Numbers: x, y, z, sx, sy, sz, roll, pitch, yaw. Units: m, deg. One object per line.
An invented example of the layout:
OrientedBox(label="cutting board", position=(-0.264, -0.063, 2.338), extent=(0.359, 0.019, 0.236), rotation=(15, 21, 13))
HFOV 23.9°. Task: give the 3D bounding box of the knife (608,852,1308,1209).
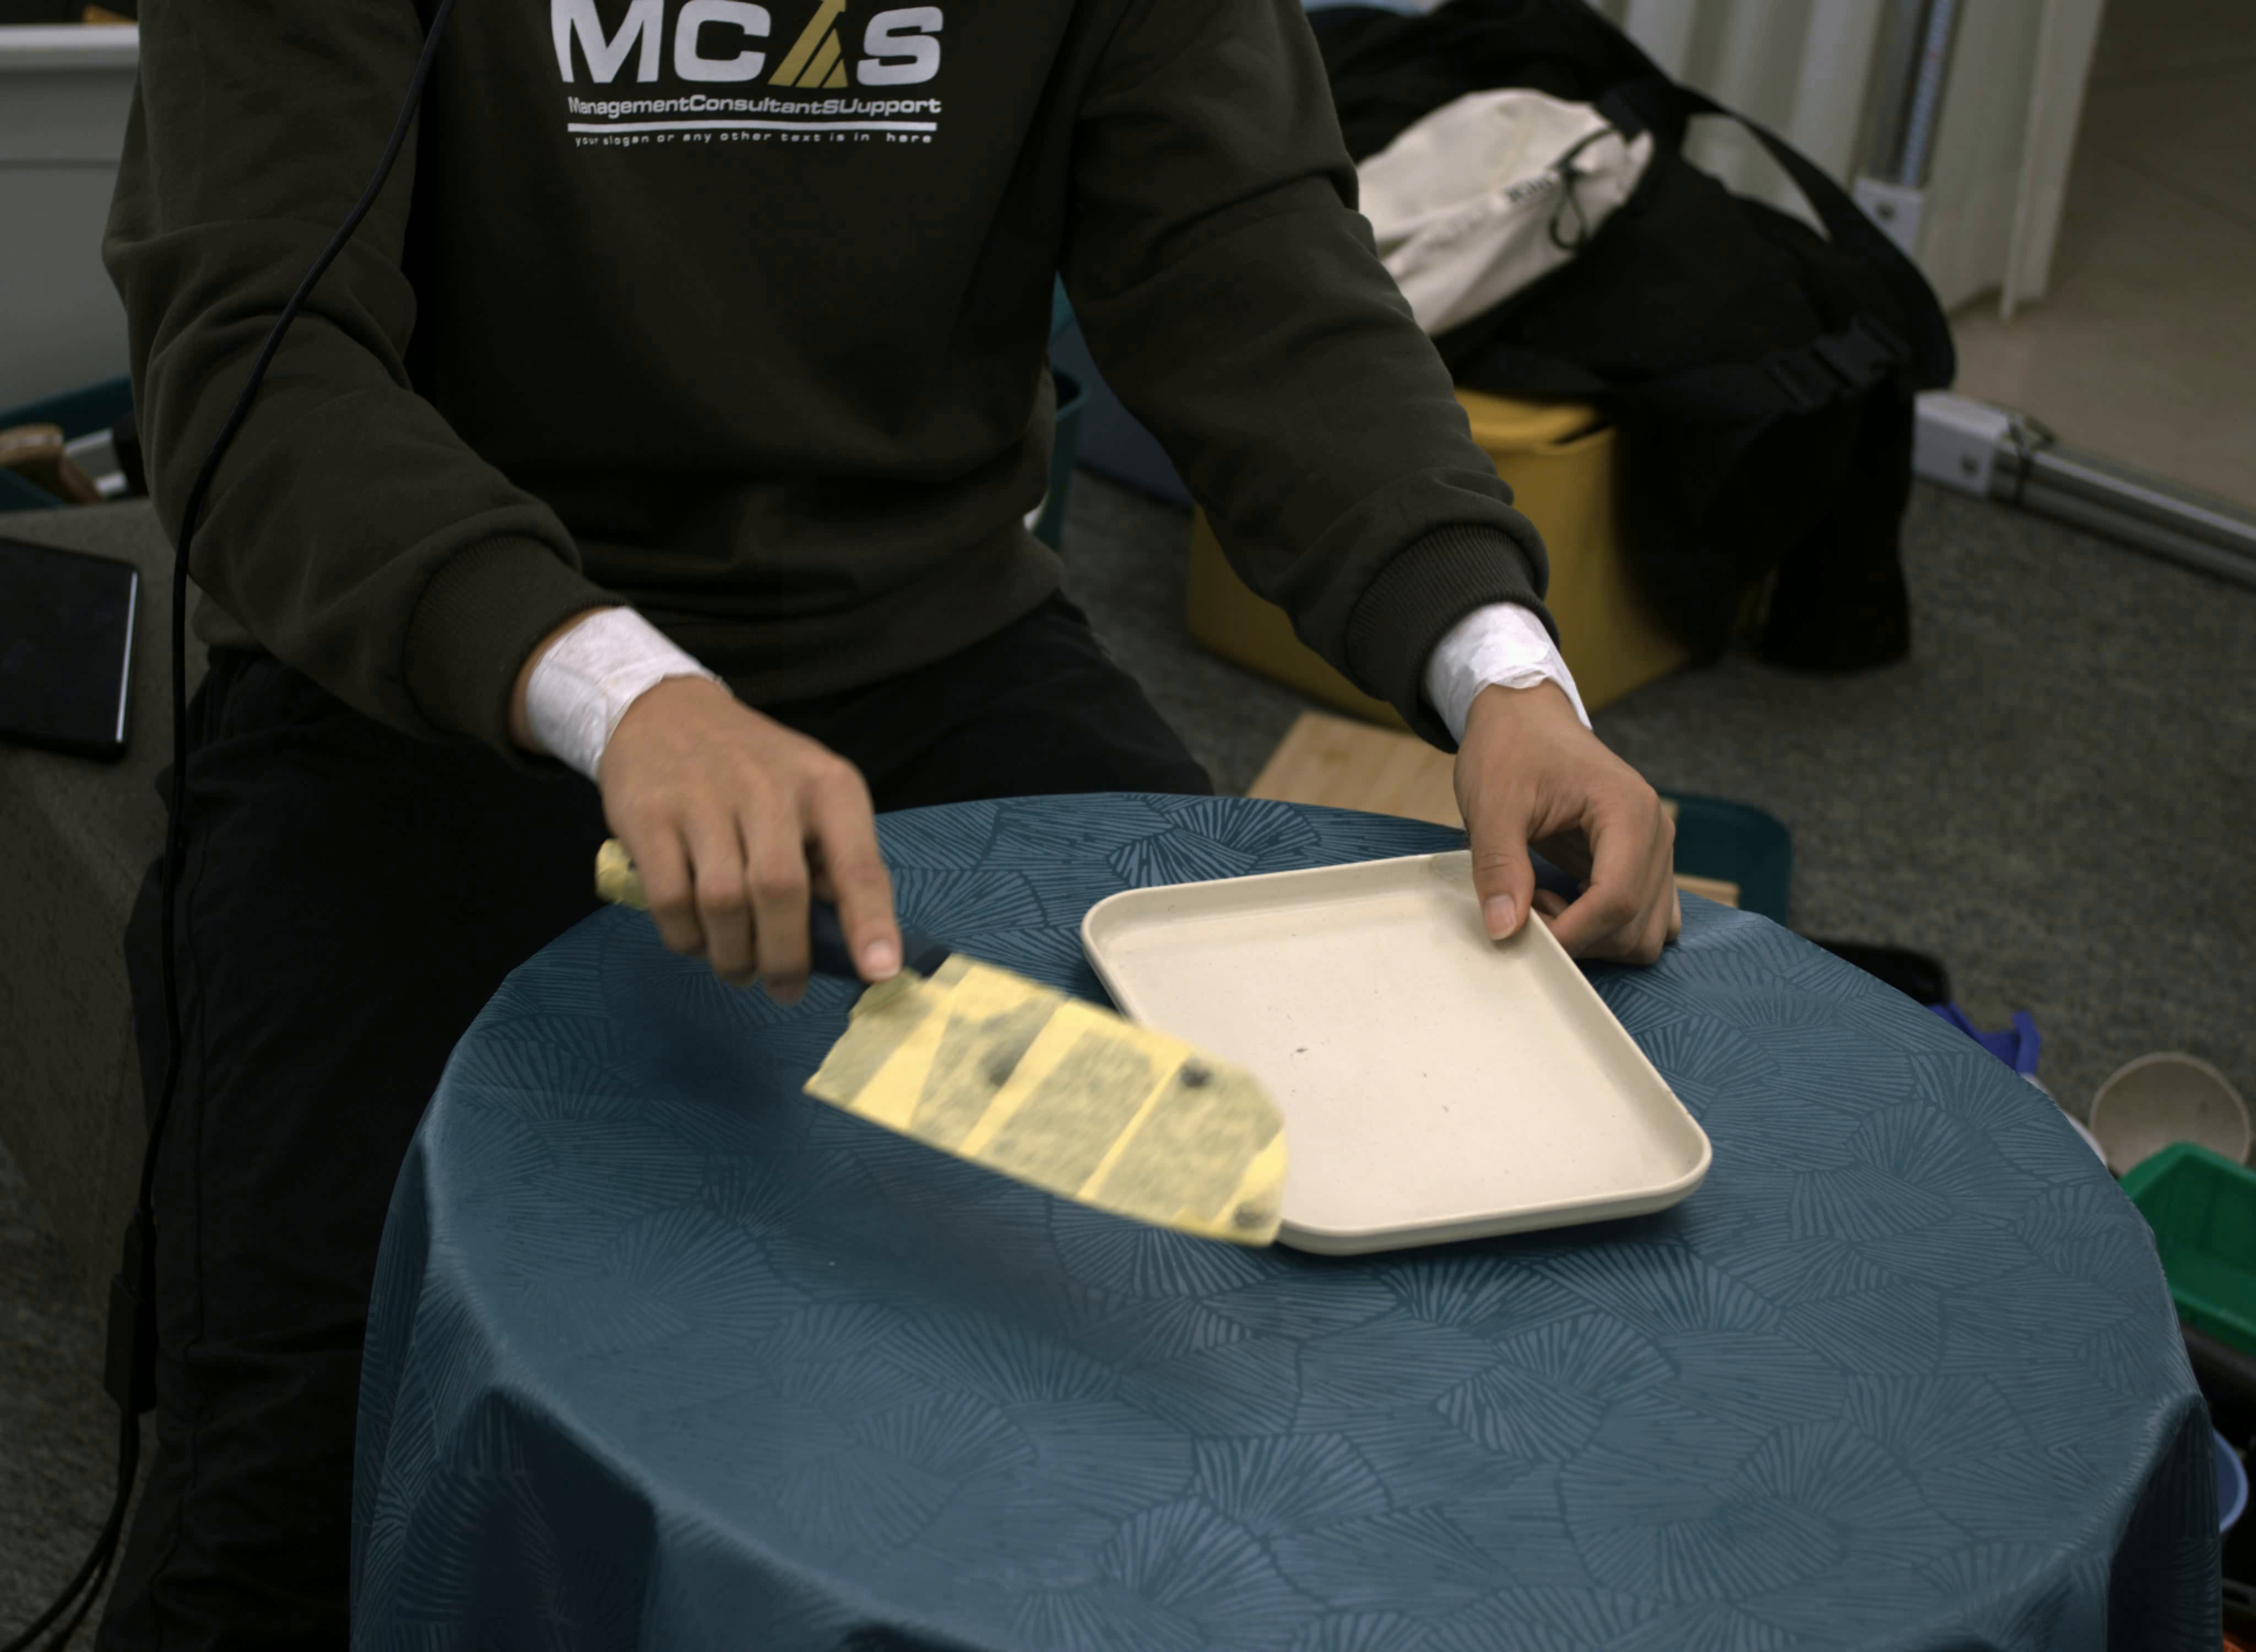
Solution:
OrientedBox(label="knife", position=(-0.064, 0.067, 1.759), extent=(0.291, 0.027, 0.081), rotation=(21, 53, 29))

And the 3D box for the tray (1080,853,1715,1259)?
OrientedBox(label="tray", position=(0.091, 0.080, 1.882), extent=(0.170, 0.017, 0.242), rotation=(-8, 30, -16))
